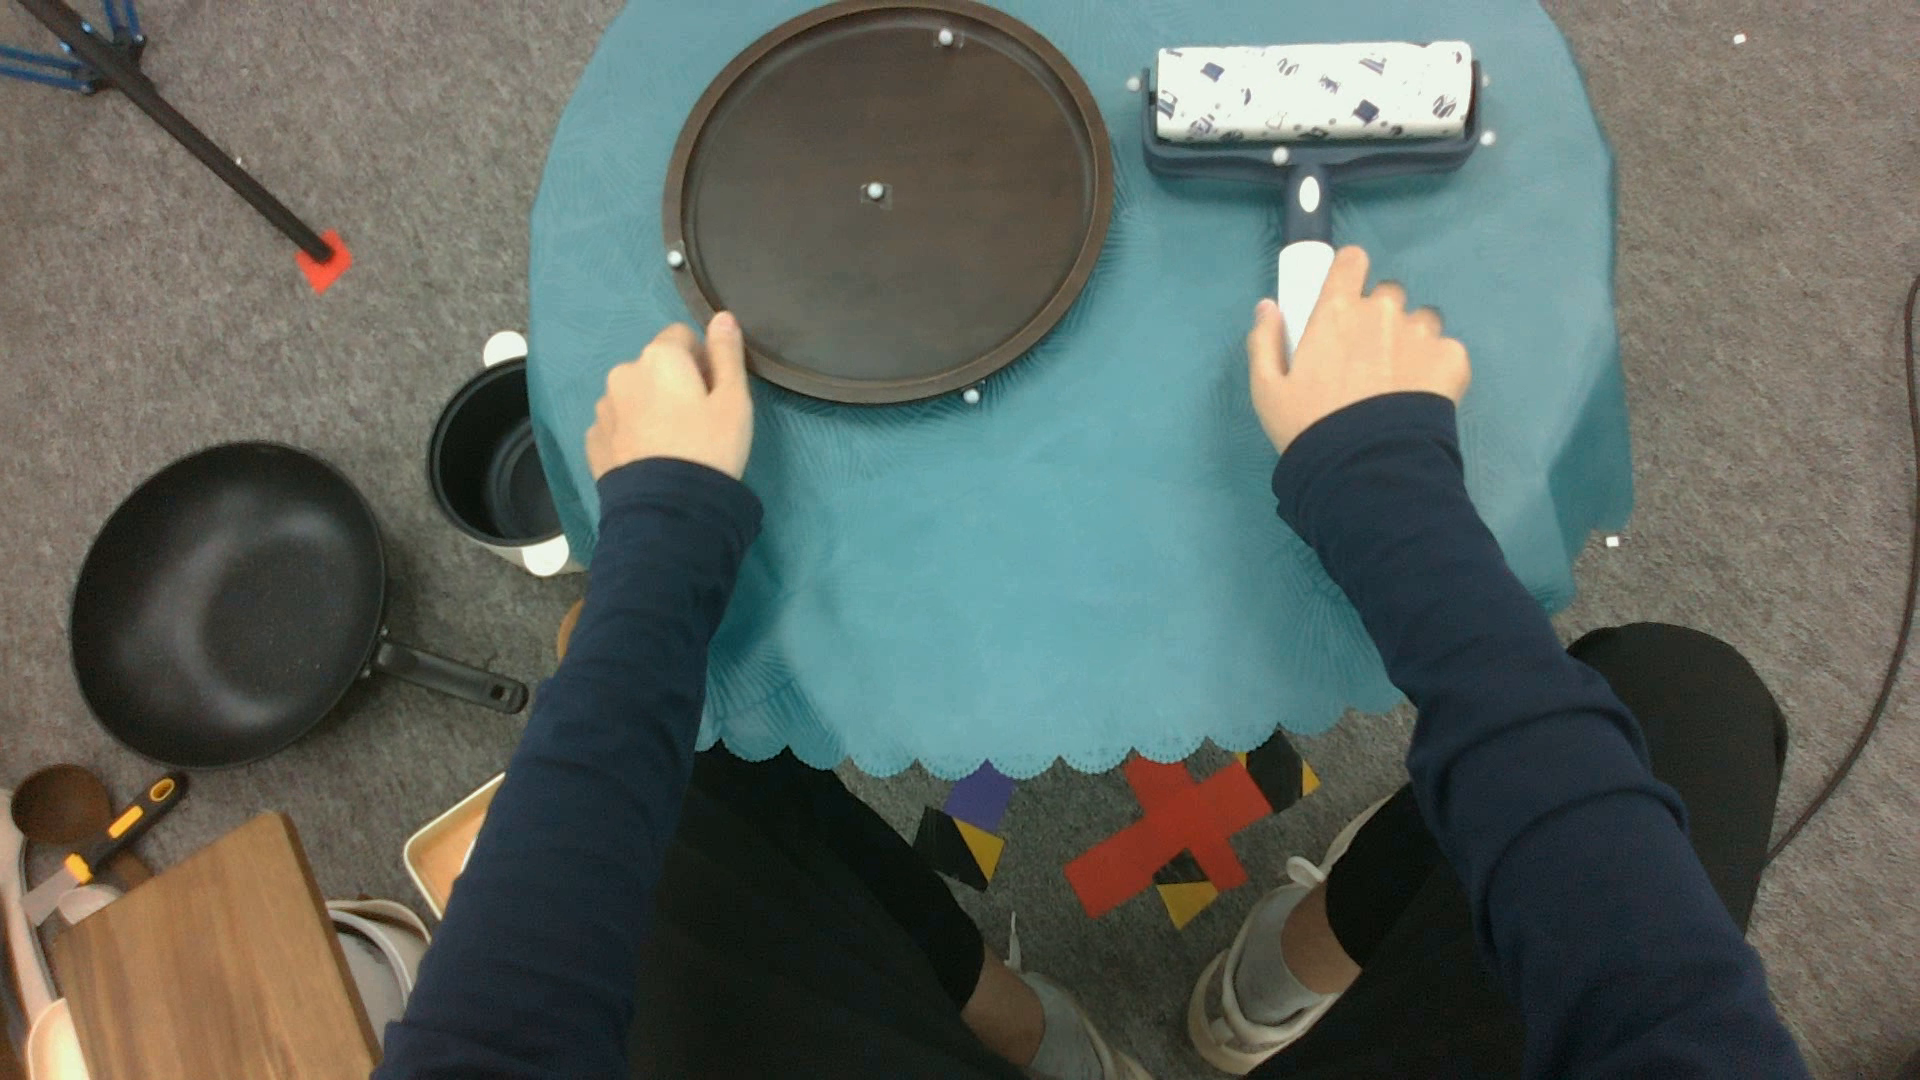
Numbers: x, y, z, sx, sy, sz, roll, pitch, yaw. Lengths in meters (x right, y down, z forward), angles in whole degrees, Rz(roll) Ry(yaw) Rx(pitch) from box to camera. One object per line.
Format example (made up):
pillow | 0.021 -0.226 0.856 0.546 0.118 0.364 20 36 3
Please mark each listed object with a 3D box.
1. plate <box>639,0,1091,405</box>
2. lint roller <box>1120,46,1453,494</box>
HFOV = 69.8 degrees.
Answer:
plate | -0.053 -0.193 0.770 0.254 0.029 0.255 -1 75 6
lint roller | 0.172 -0.147 0.722 0.176 0.050 0.247 1 75 5
